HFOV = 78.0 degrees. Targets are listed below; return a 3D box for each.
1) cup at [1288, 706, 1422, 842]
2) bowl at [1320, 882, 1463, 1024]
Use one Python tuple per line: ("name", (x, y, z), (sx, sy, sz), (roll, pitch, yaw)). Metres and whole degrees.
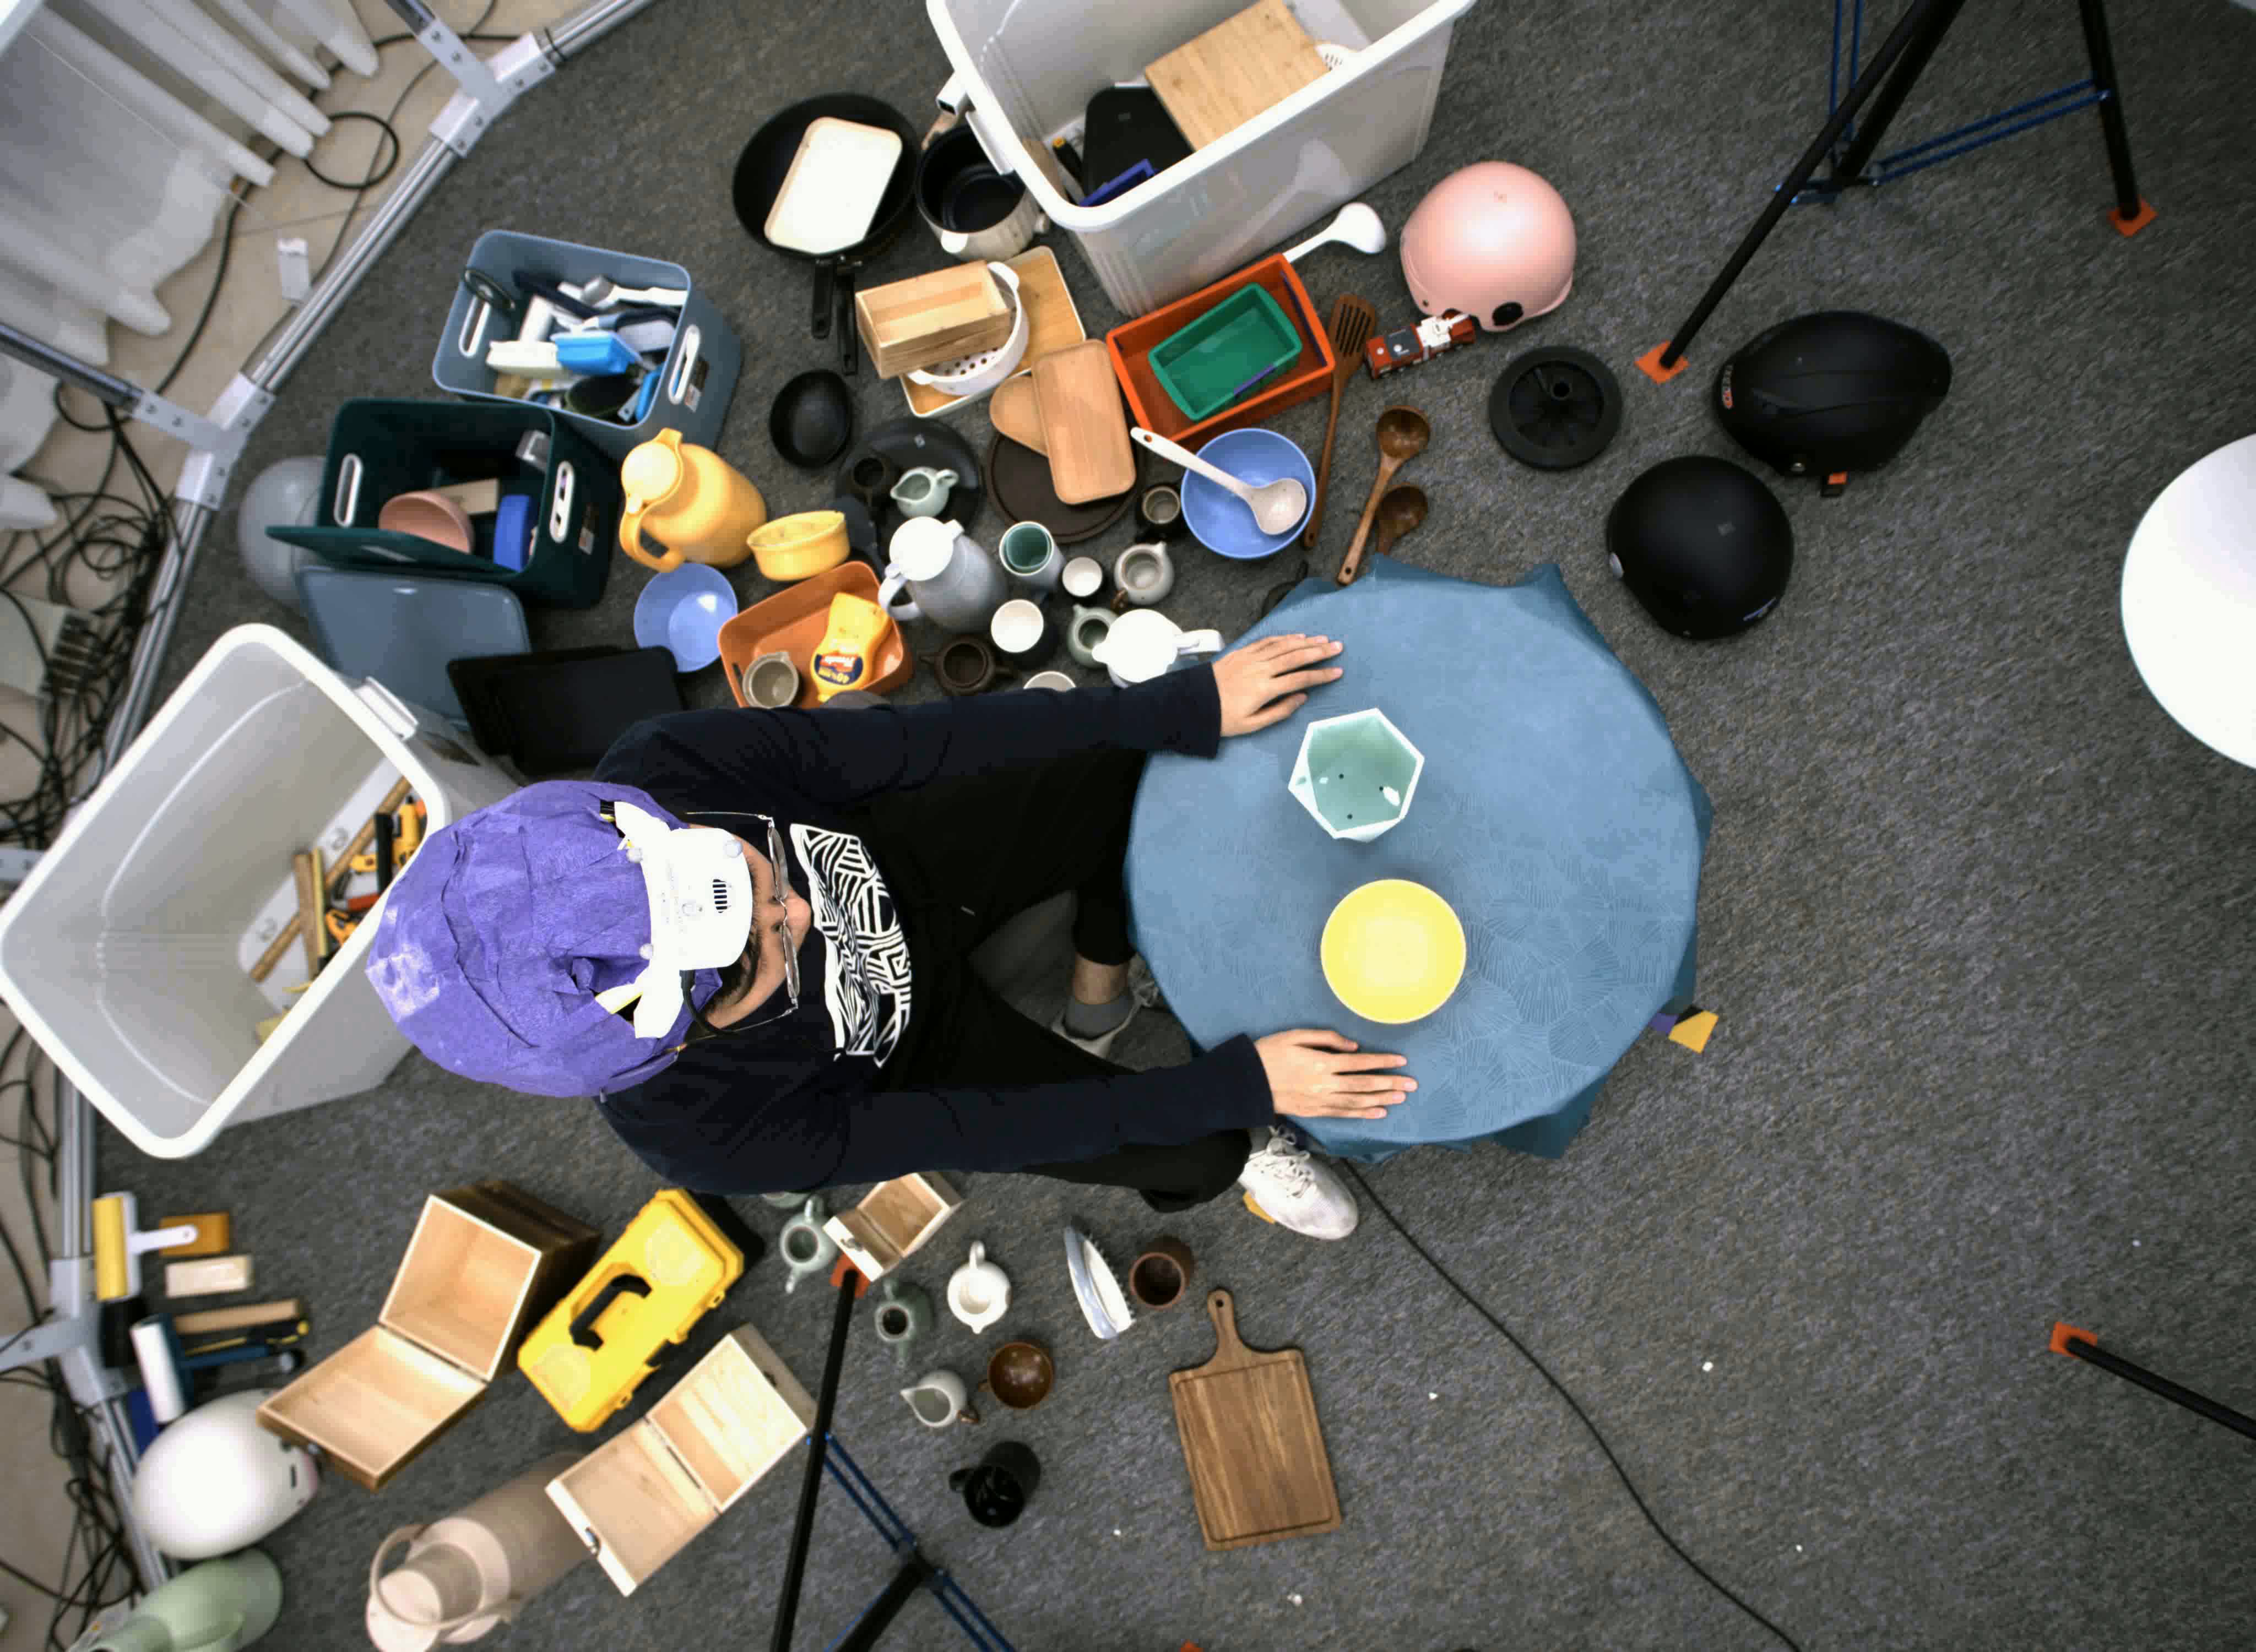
("cup", (0.231, -0.045, 1.389), (0.115, 0.163, 0.131), (16, 88, 12))
("bowl", (0.273, 0.130, 1.428), (0.146, 0.060, 0.144), (-1, 85, 13))
